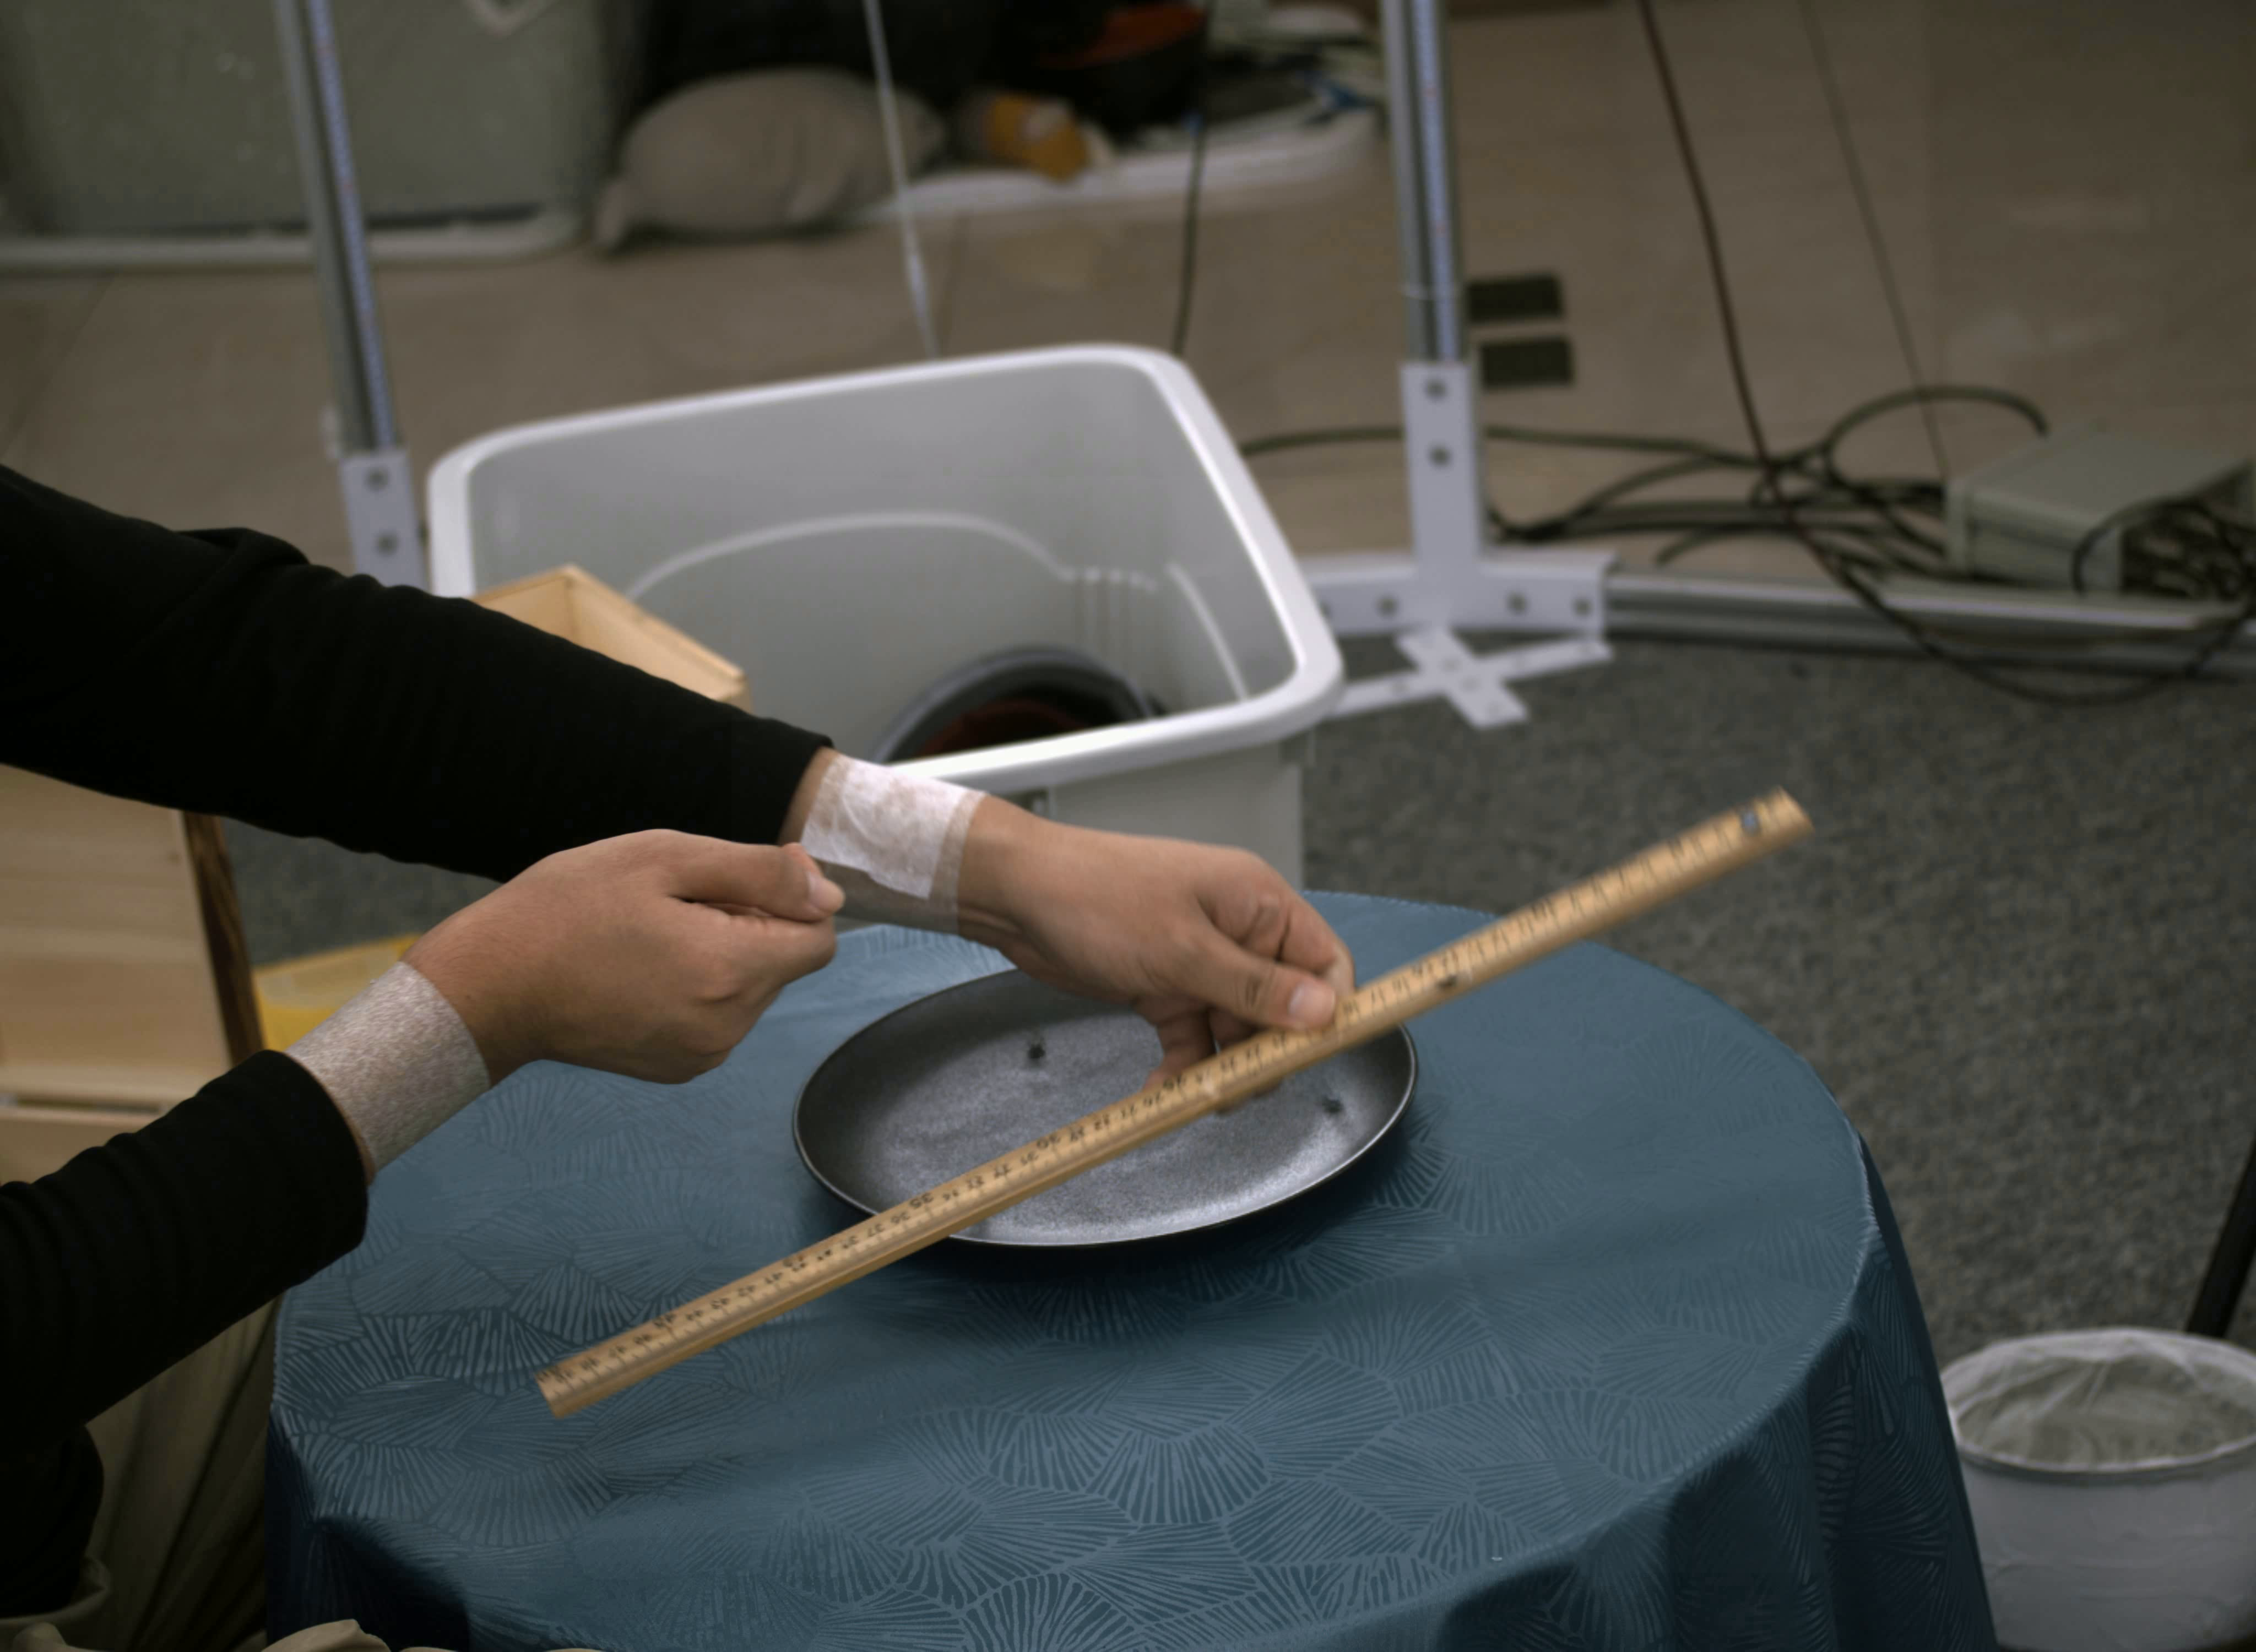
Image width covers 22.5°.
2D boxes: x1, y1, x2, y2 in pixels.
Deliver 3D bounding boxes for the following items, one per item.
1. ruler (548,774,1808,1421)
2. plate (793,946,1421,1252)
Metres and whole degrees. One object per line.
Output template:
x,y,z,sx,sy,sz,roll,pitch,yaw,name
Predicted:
0.020,0.093,2.026,0.499,0.006,0.026,-26,32,-8,ruler
-0.008,0.110,2.184,0.244,0.024,0.241,-5,25,3,plate
